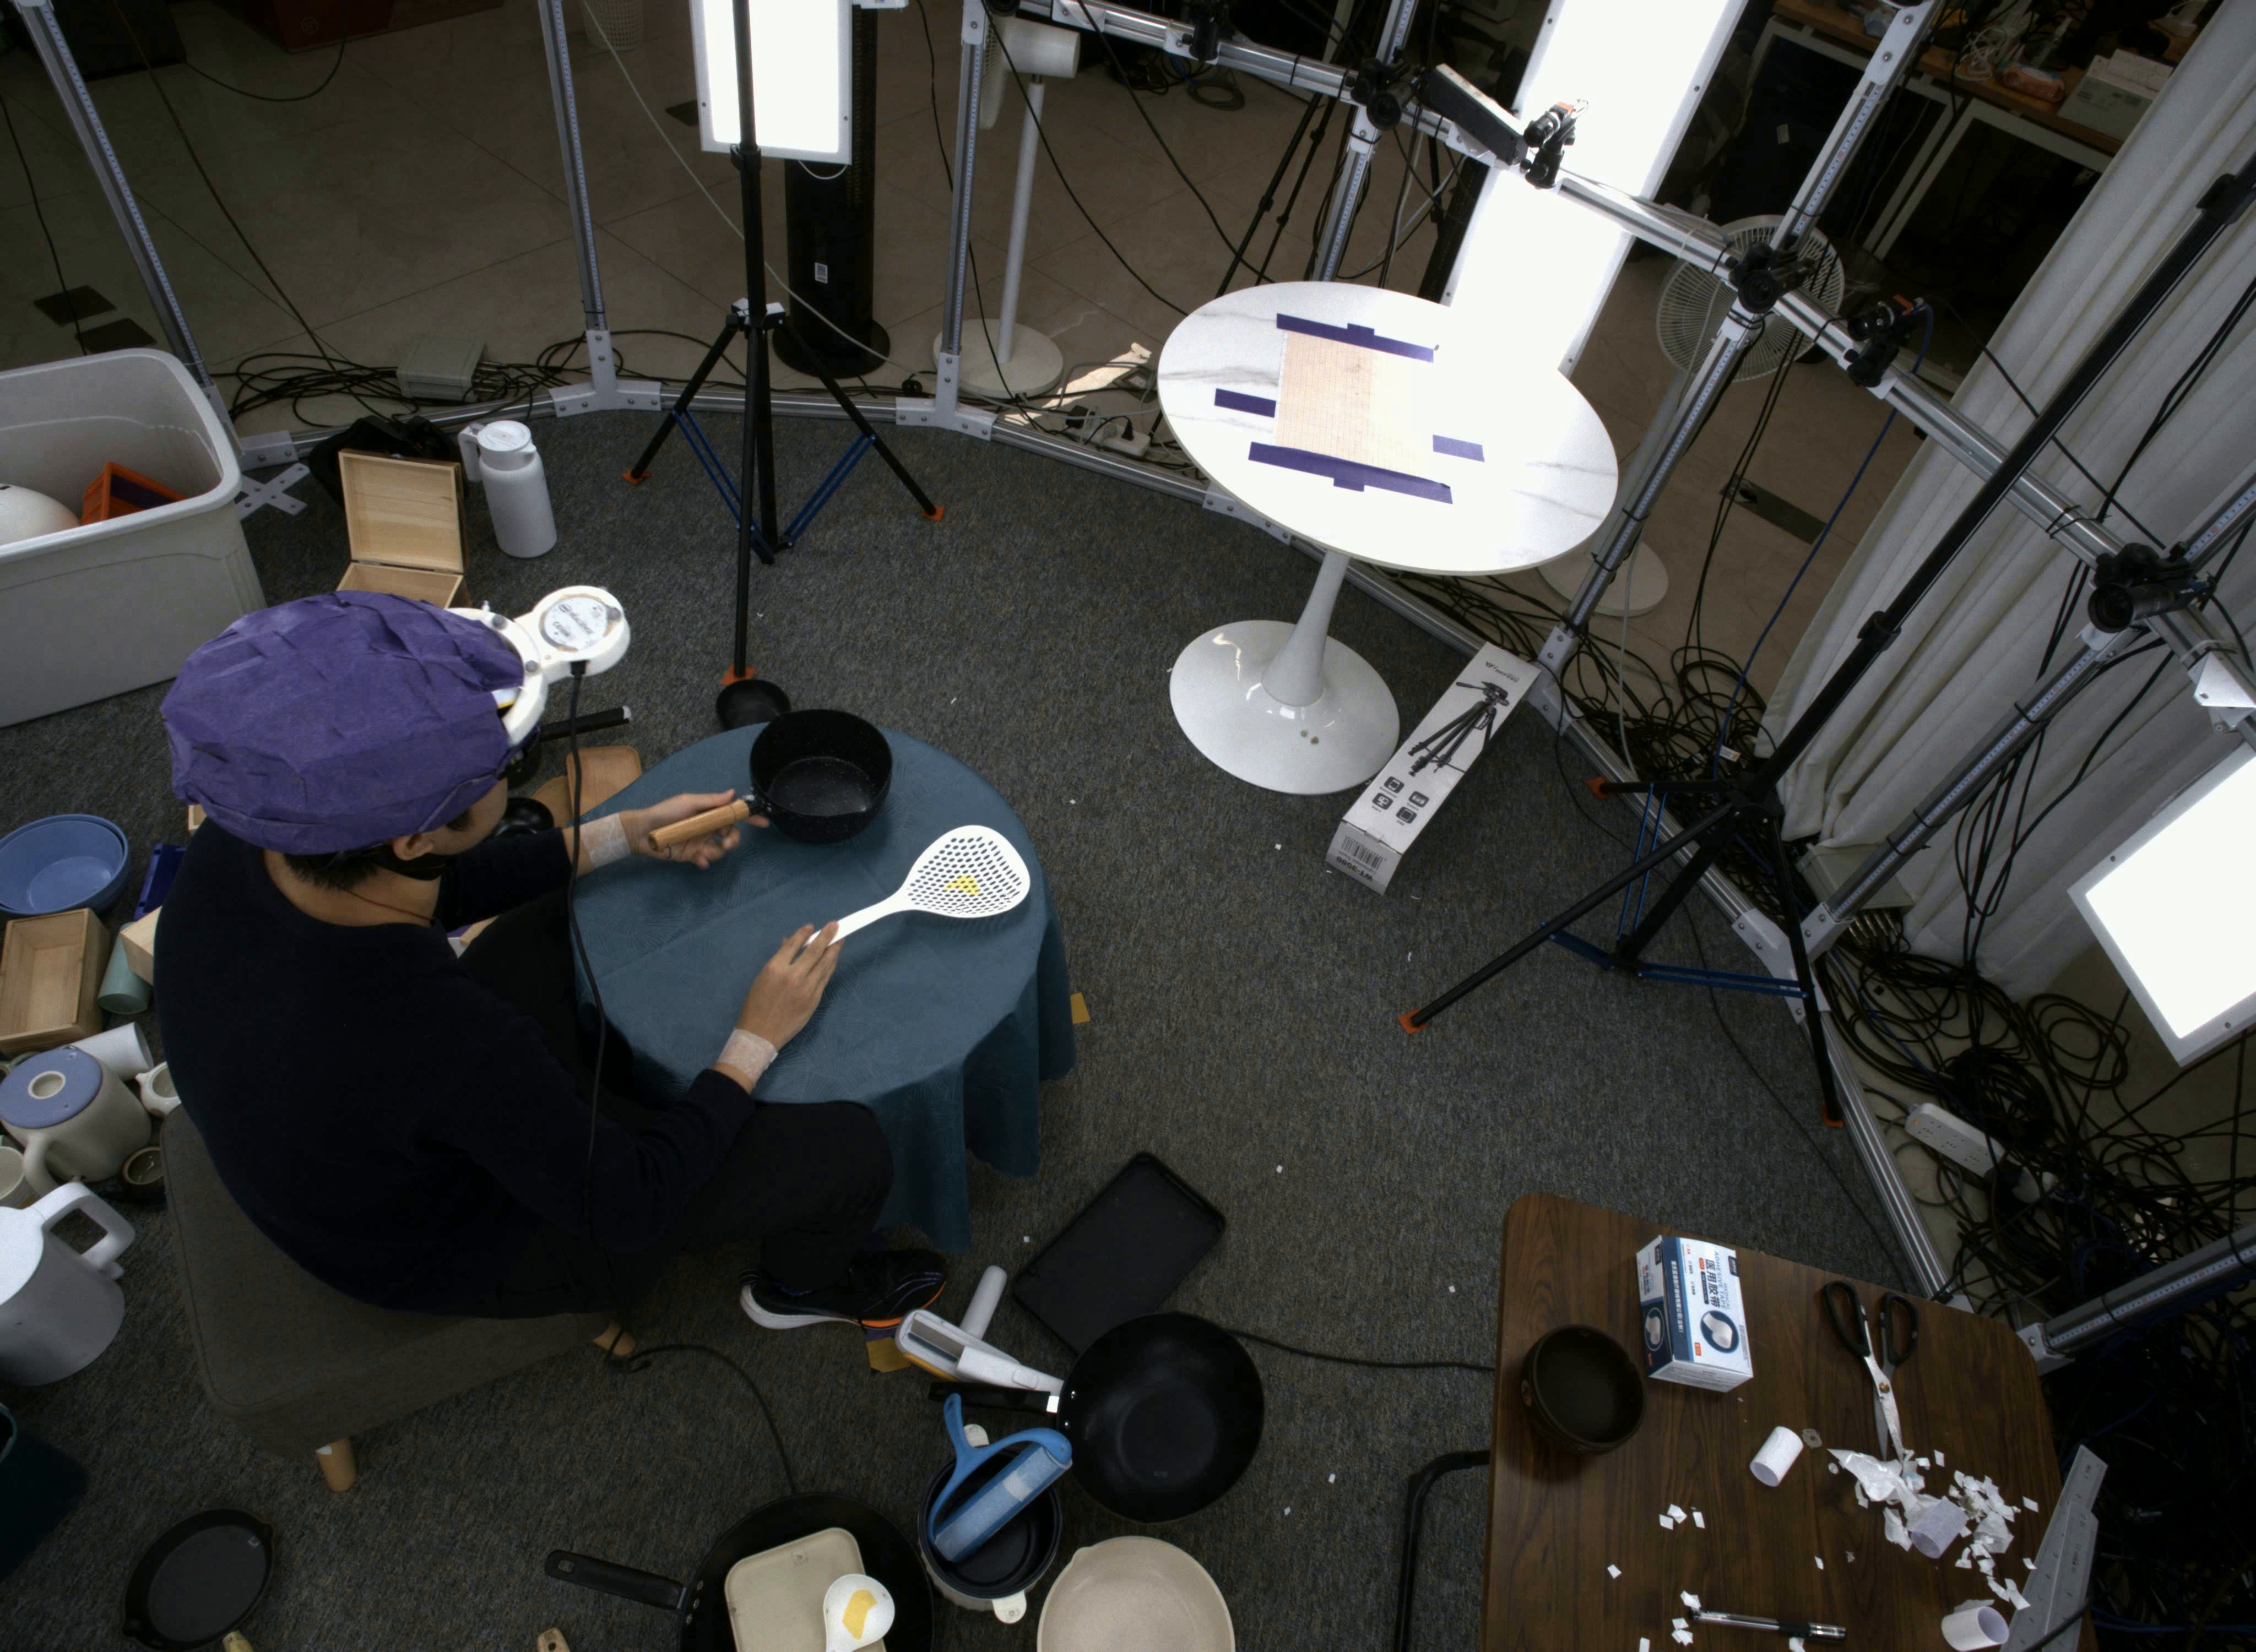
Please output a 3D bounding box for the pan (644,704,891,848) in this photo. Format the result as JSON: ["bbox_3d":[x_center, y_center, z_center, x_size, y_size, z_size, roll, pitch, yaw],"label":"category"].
[{"bbox_3d":[-0.460,-0.032,1.658,0.203,0.110,0.344,44,54,17],"label":"pan"}]

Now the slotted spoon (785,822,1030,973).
[{"bbox_3d":[-0.277,0.096,1.627,0.351,0.050,0.135,-23,71,-42],"label":"slotted spoon"}]
